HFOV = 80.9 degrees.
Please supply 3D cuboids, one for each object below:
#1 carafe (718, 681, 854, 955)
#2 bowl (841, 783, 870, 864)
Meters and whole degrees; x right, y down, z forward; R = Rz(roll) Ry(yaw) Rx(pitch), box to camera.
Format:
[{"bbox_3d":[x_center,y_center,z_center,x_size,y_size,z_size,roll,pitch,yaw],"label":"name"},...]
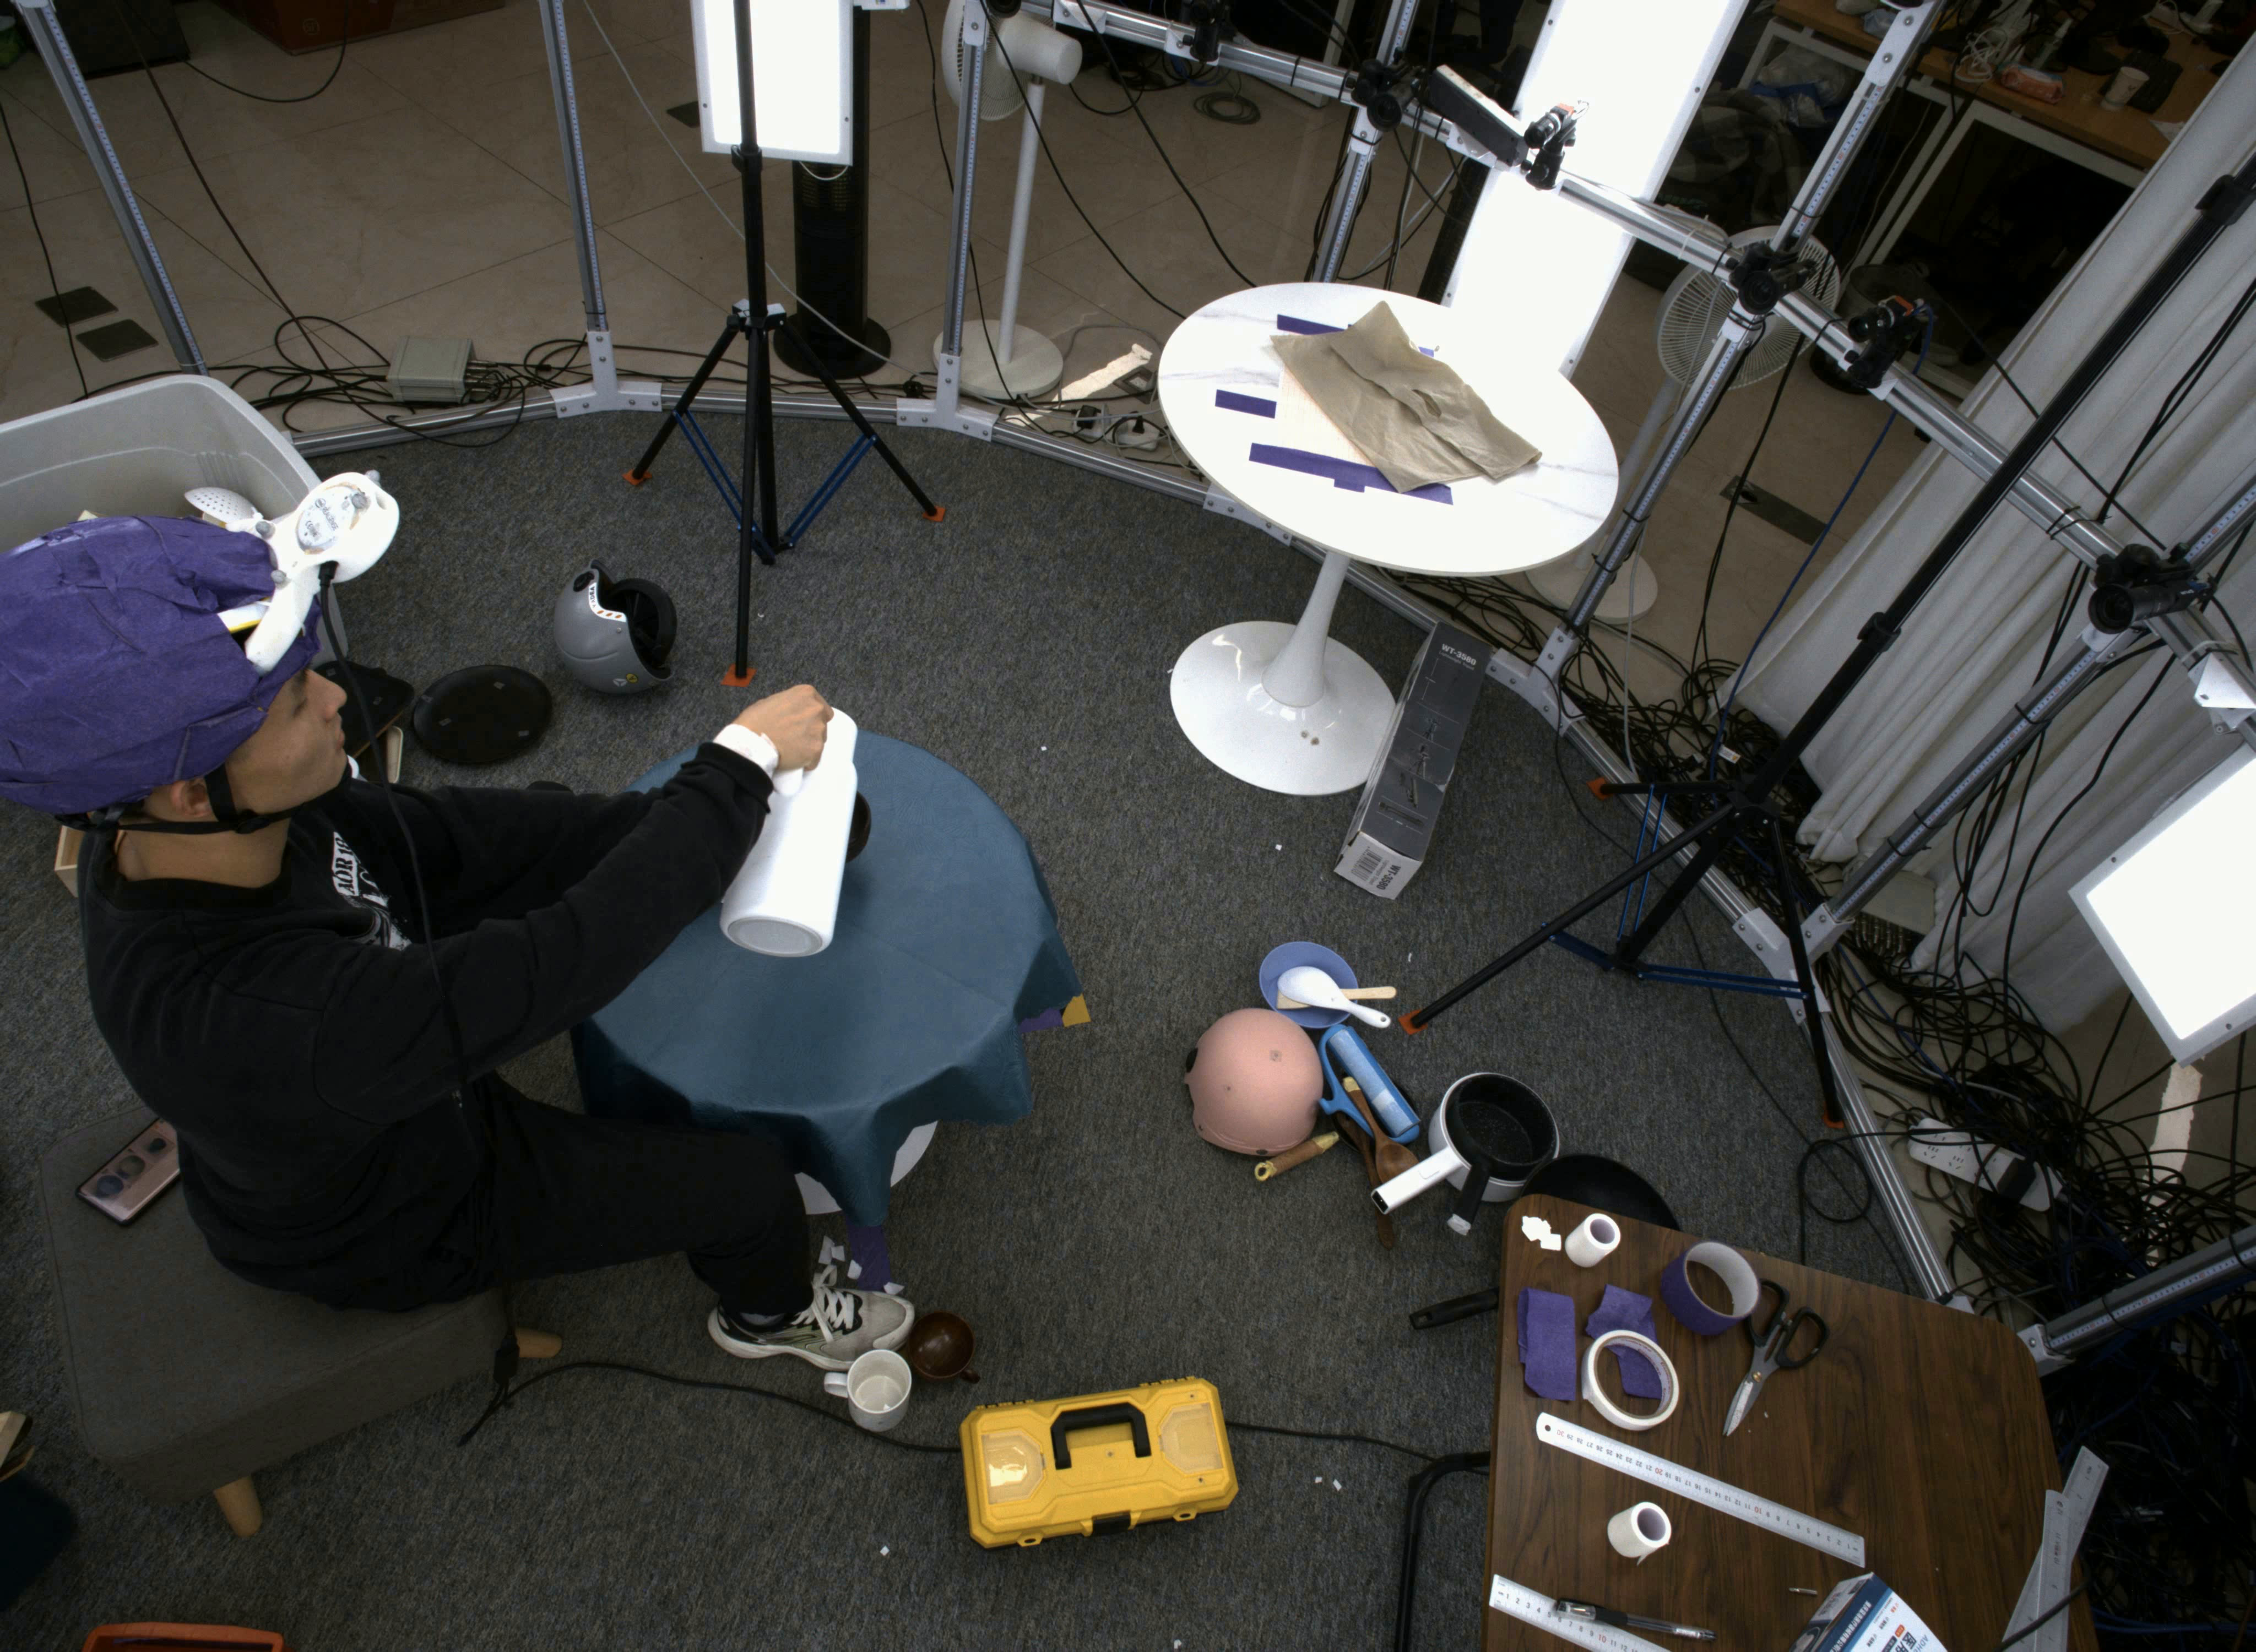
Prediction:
[{"bbox_3d":[-0.358,-0.014,1.379,0.123,0.176,0.265,7,61,-6],"label":"carafe"},{"bbox_3d":[-0.385,0.002,1.632,0.118,0.071,0.116,10,49,-10],"label":"bowl"}]
